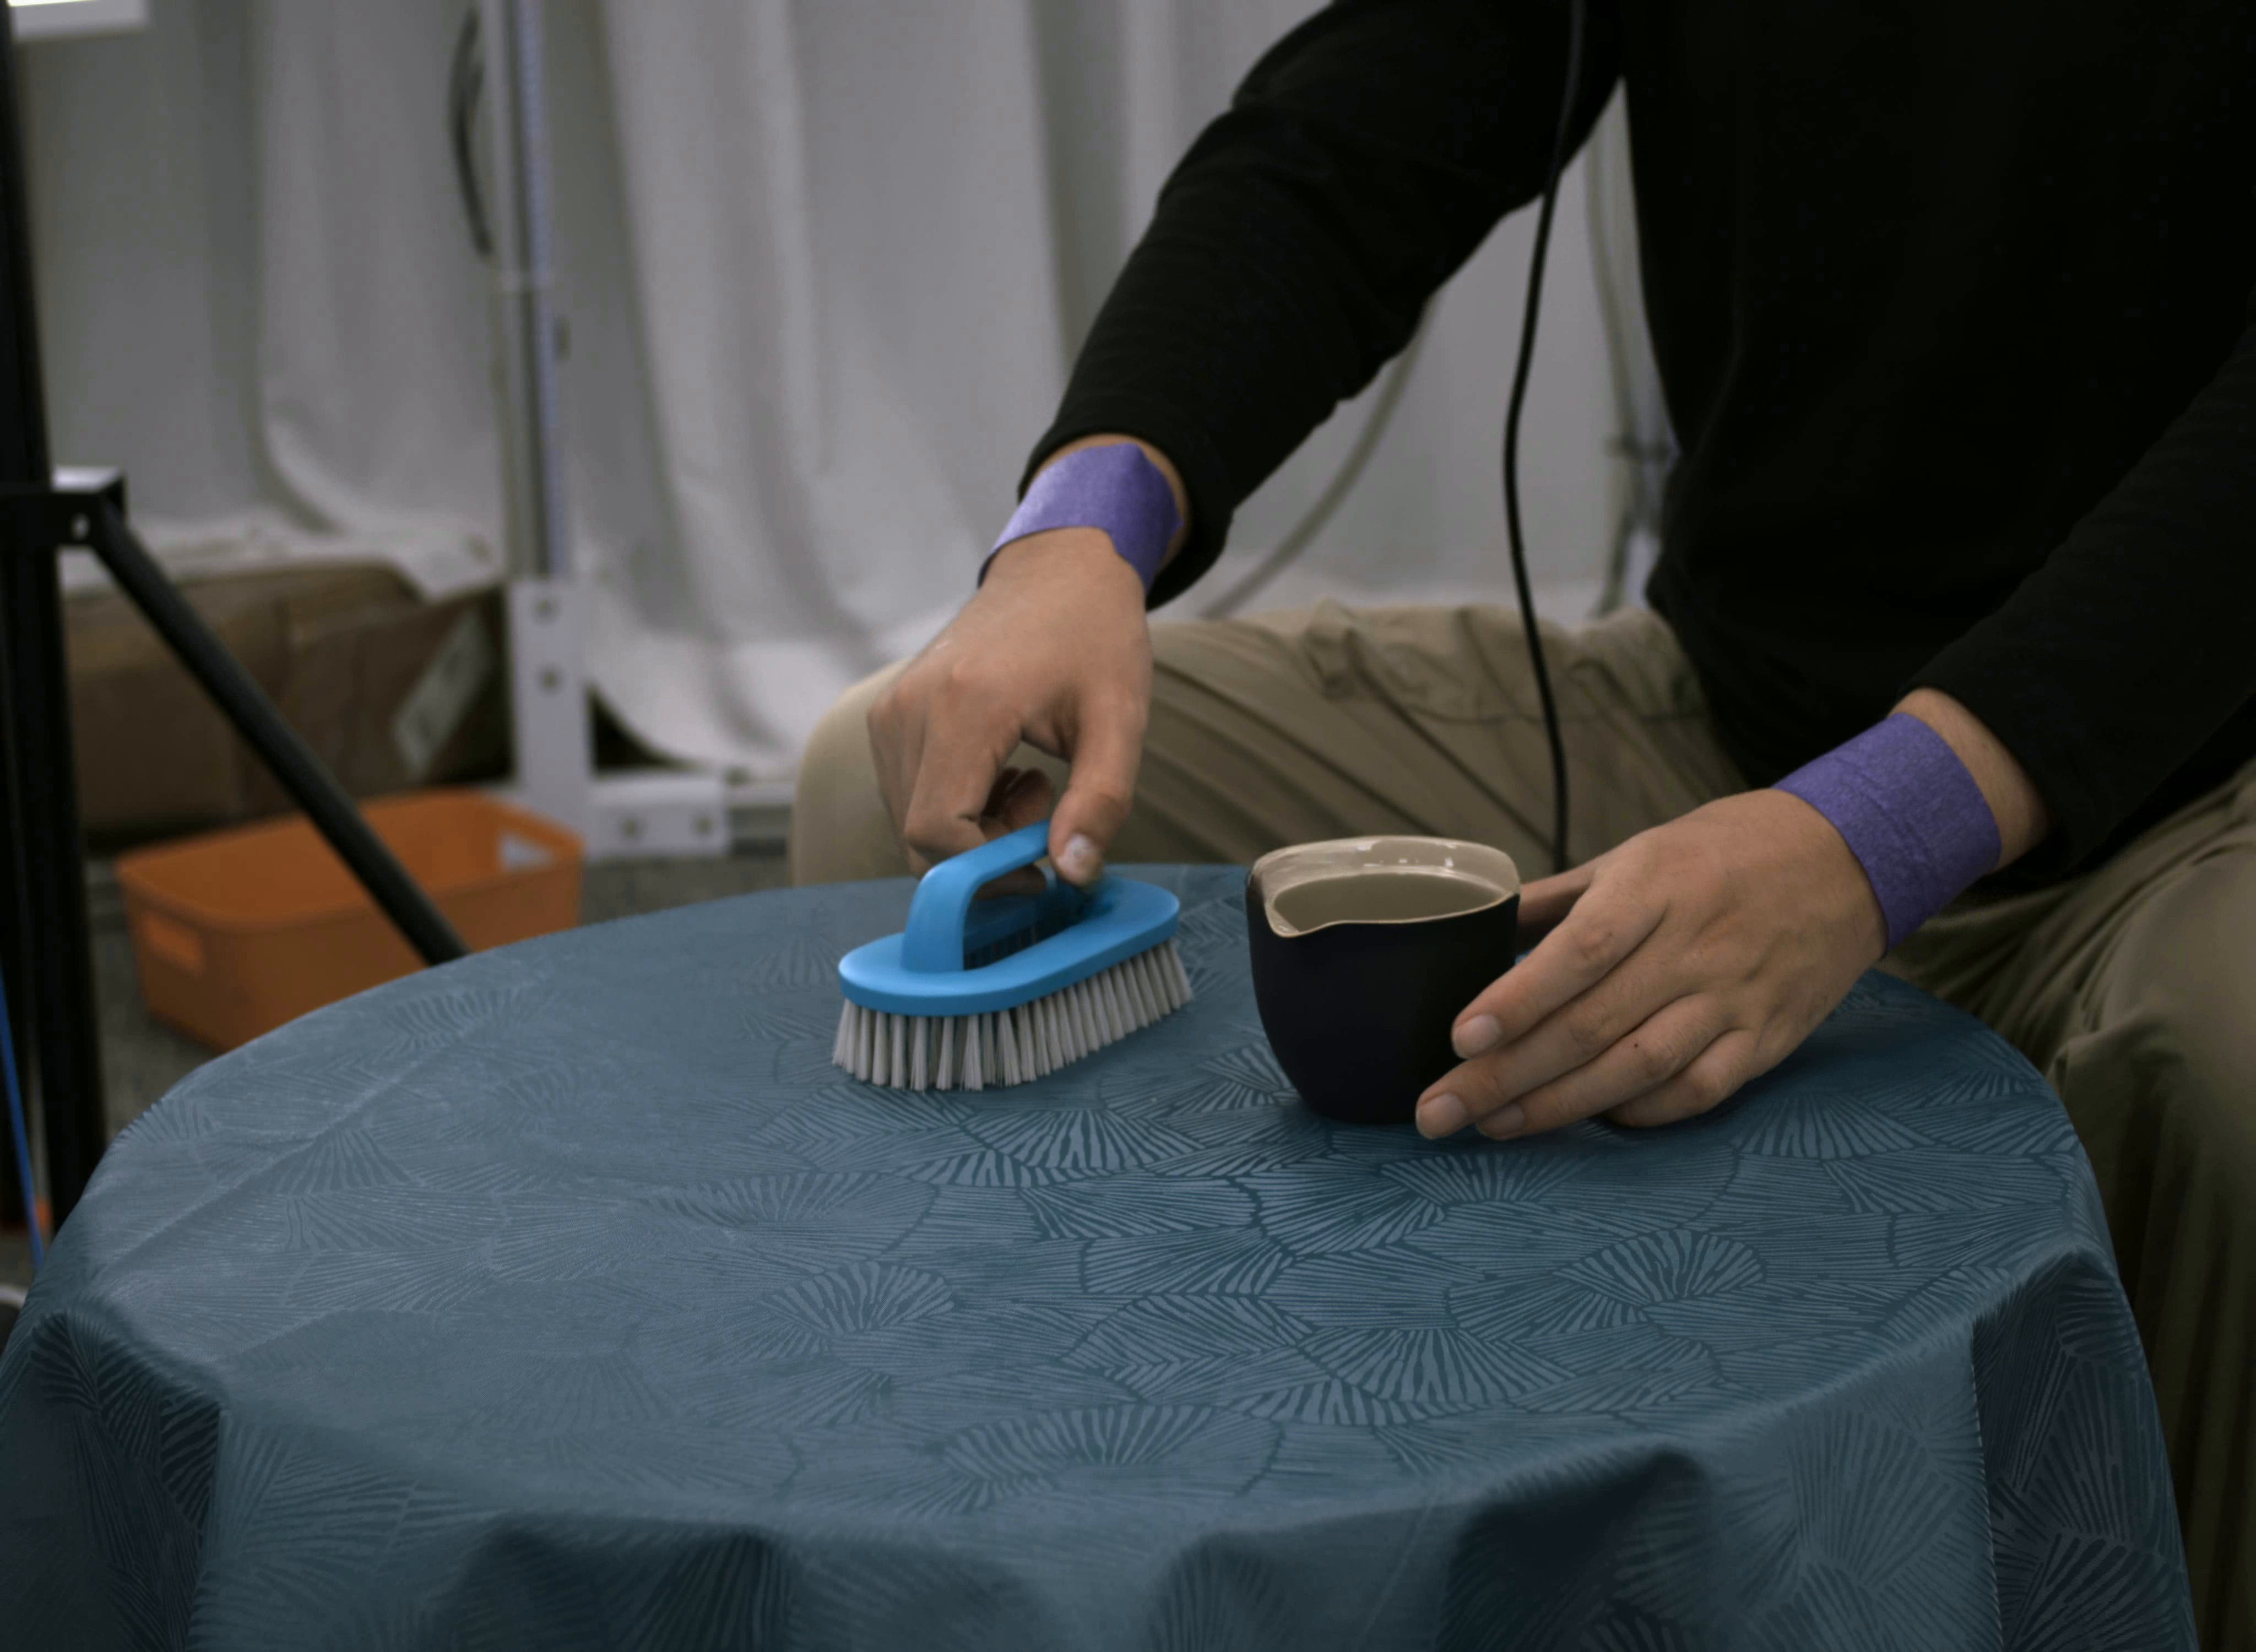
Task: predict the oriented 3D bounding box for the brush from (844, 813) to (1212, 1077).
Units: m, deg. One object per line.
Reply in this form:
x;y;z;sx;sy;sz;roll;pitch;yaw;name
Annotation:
-0.035;0.033;1.708;0.086;0.064;0.139;4;16;37;brush

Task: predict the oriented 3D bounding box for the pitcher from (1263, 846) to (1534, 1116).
0.080;0.049;1.618;0.085;0.071;0.094;13;23;40;pitcher
